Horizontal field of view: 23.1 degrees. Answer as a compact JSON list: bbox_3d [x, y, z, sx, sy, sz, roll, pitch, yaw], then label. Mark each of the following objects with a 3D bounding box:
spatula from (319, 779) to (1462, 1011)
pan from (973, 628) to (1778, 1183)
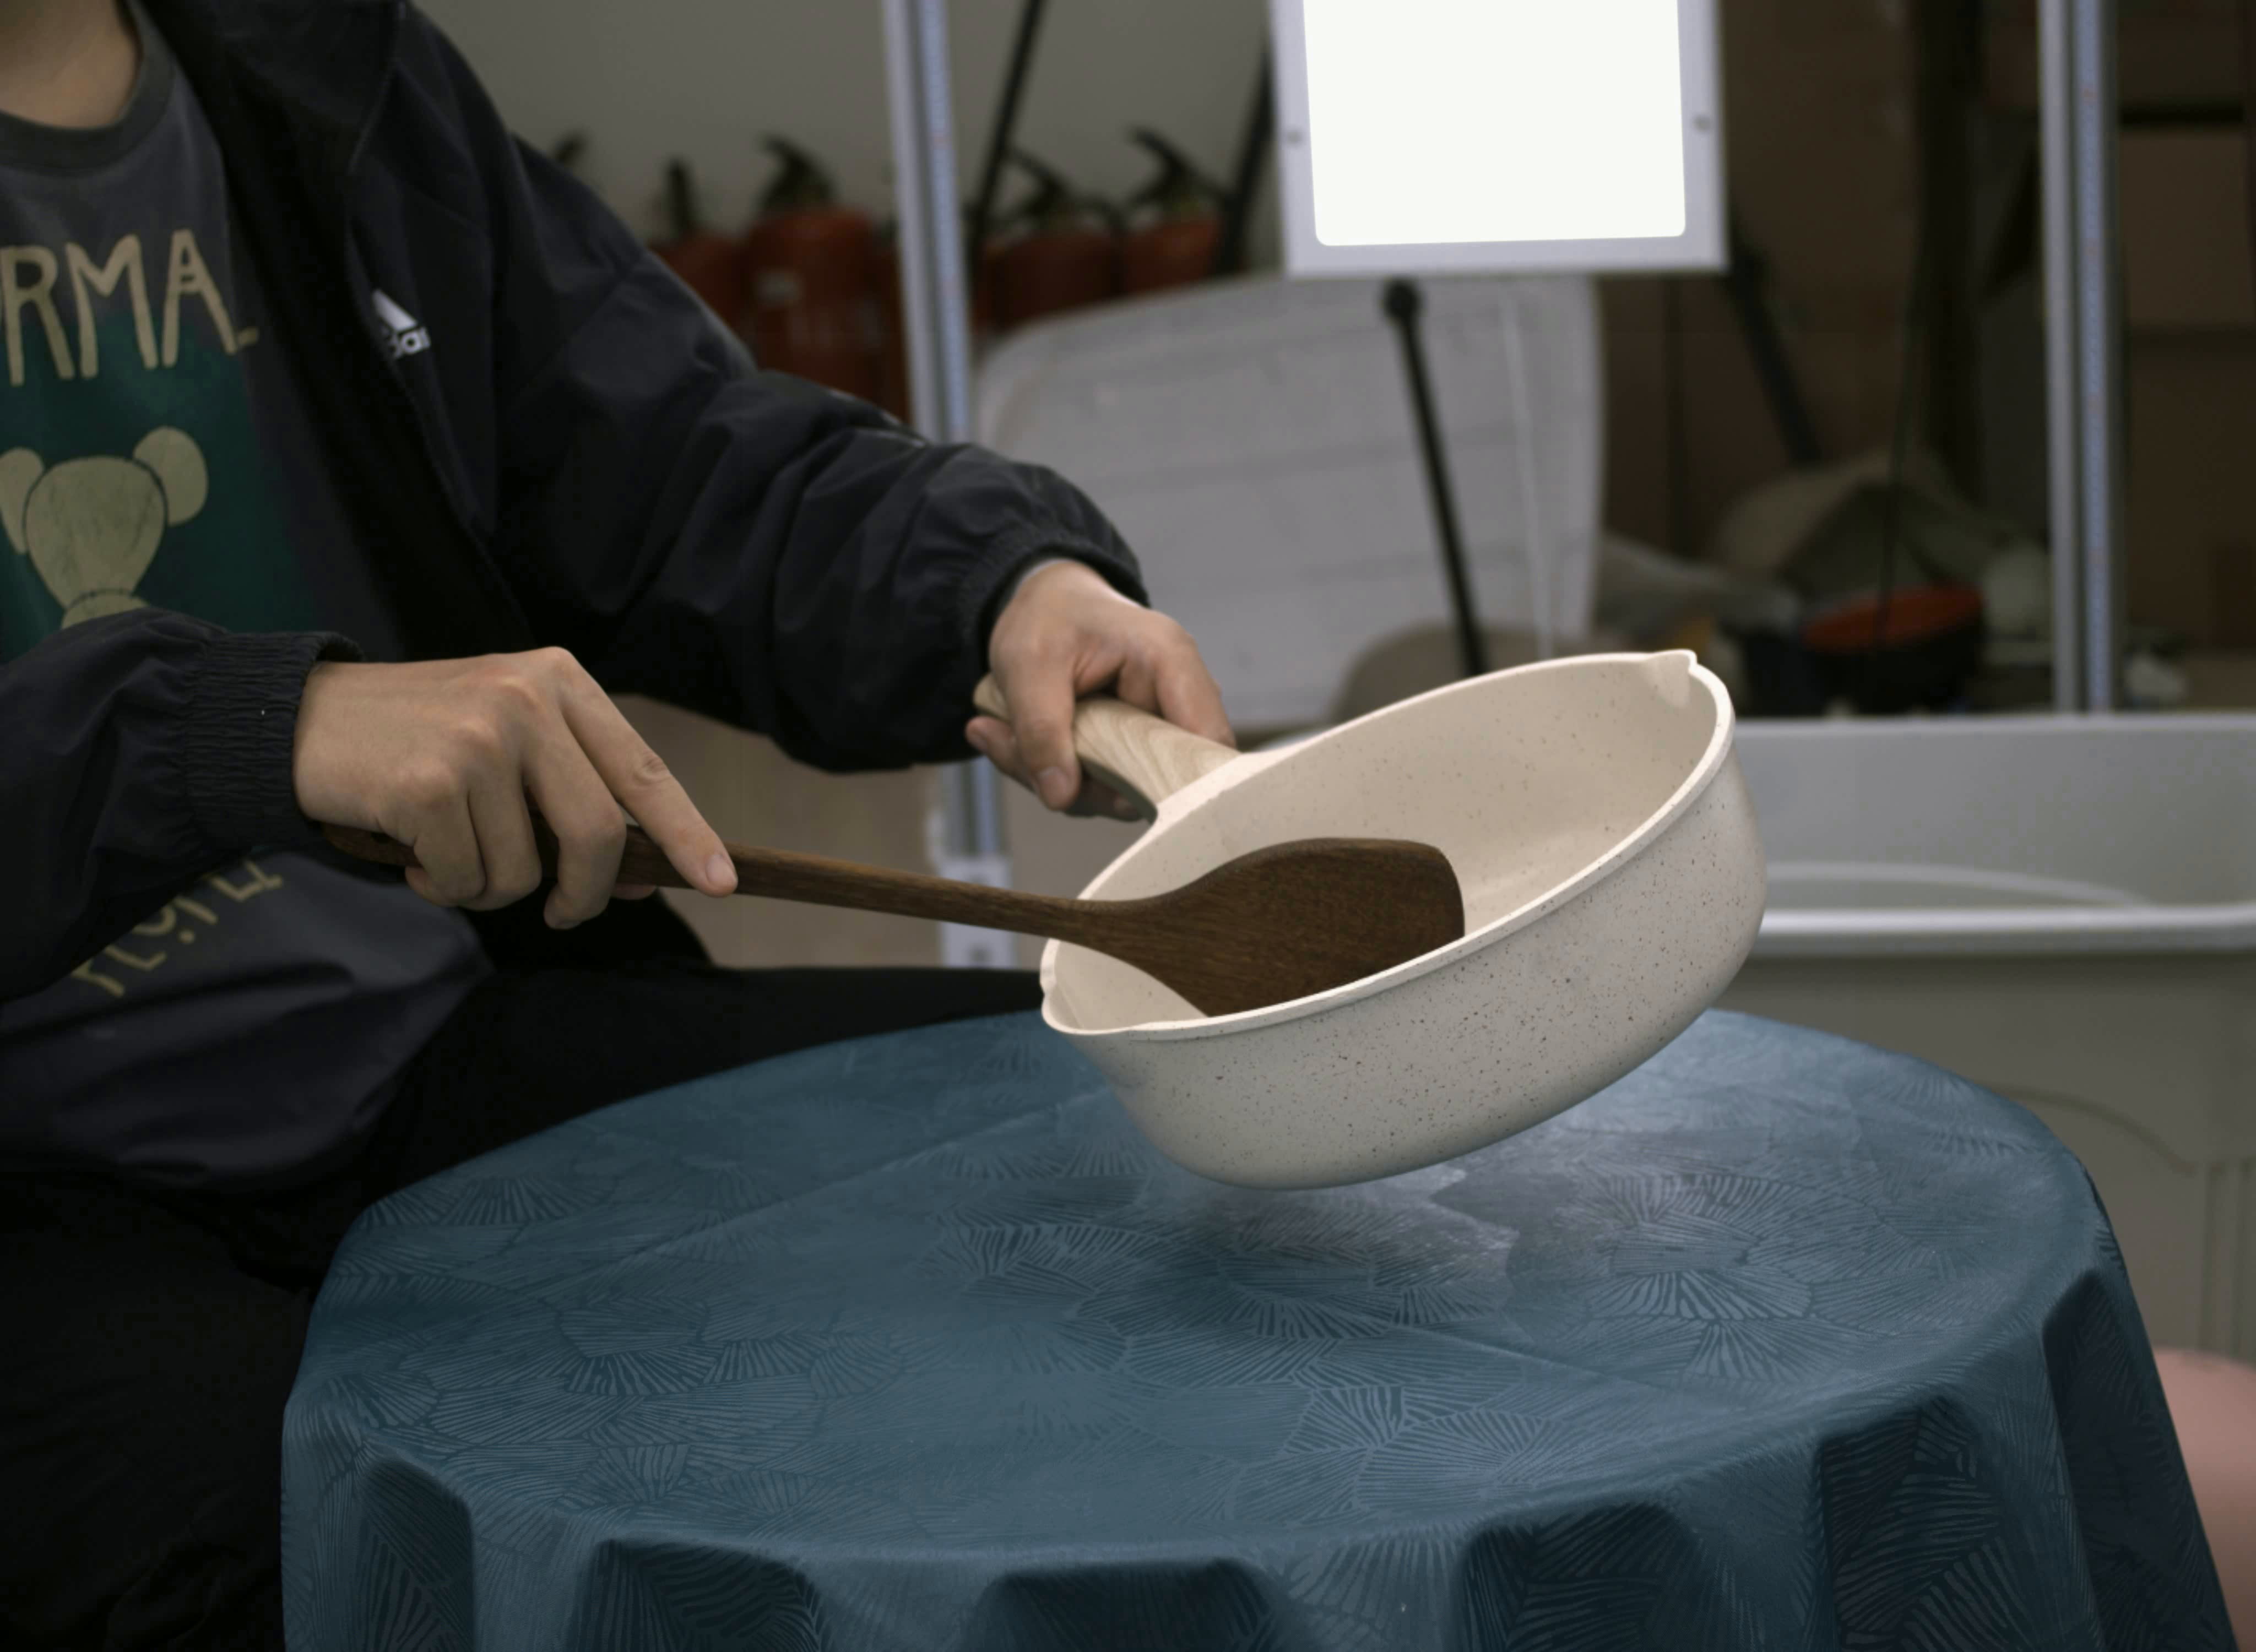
[{"bbox_3d":[-0.080,0.020,1.845,0.386,0.097,0.015,8,37,3],"label":"spatula"},{"bbox_3d":[0.062,0.014,1.932,0.260,0.102,0.442,-33,20,-17],"label":"pan"}]
